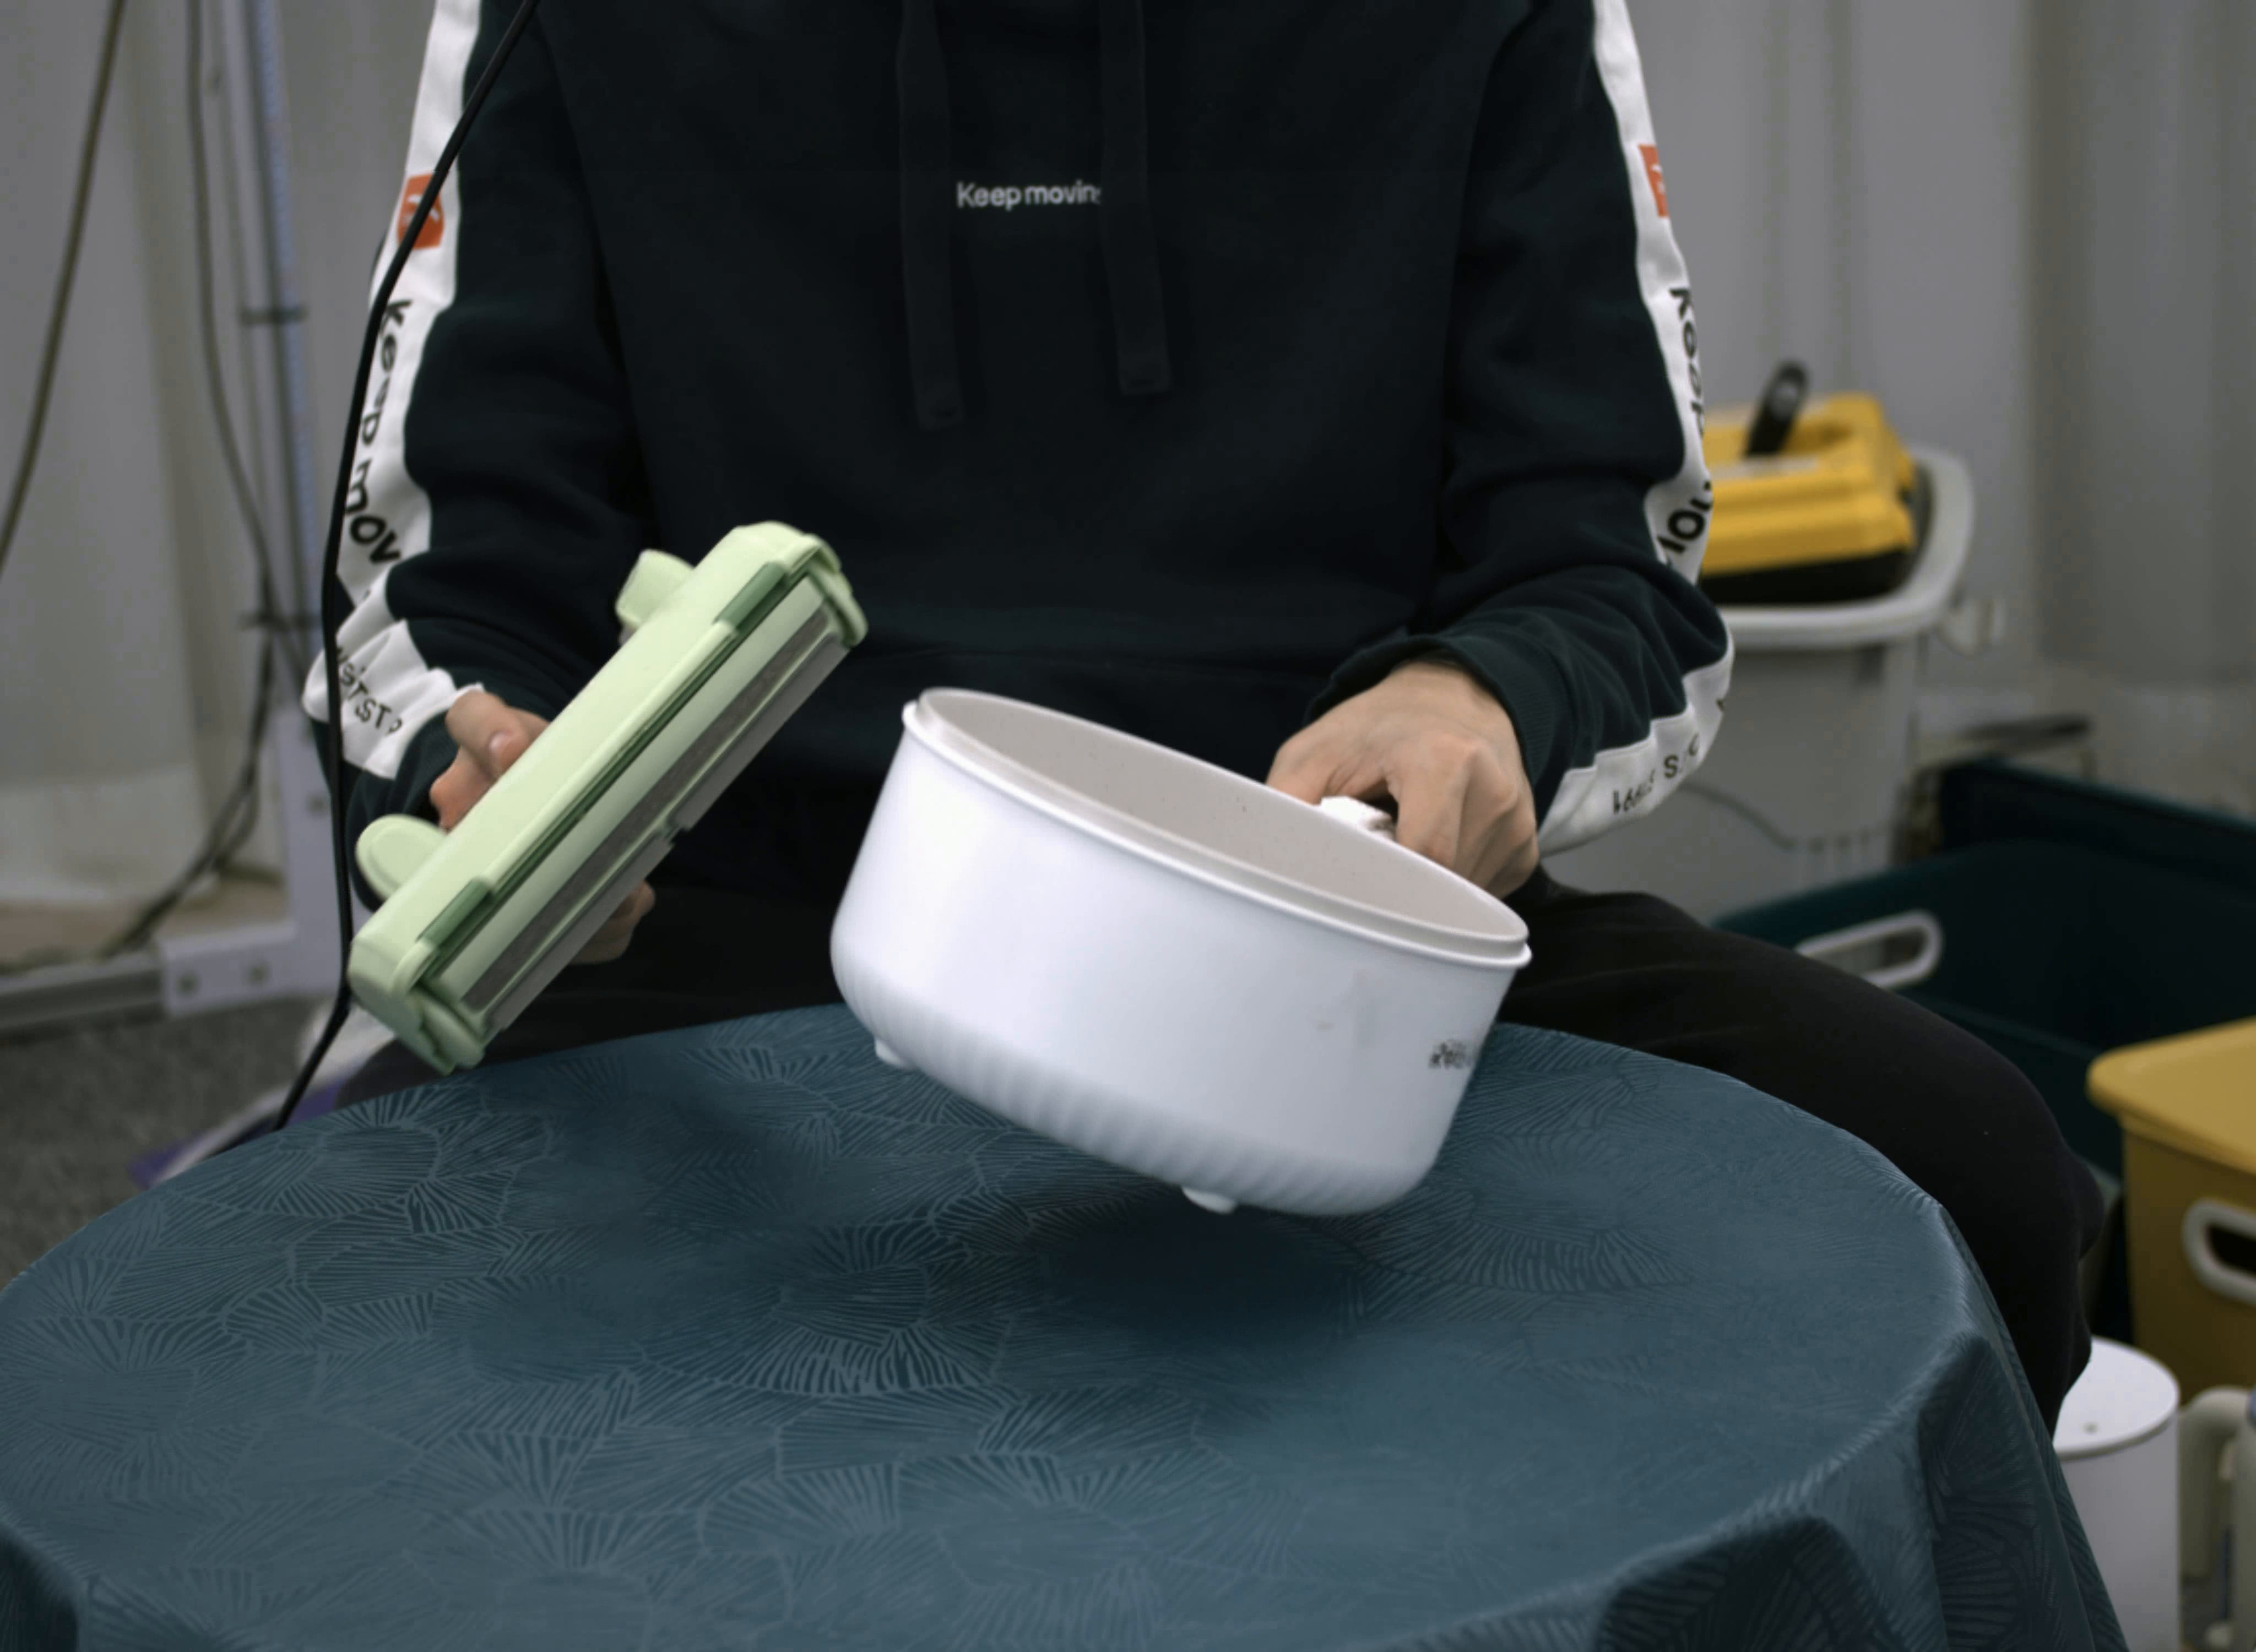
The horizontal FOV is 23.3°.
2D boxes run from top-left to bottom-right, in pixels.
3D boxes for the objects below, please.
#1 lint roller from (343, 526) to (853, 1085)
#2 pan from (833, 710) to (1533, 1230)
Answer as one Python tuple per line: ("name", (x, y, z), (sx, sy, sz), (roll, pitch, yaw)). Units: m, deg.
("lint roller", (-0.183, -0.006, 1.737), (0.199, 0.082, 0.183), (-50, 8, -17))
("pan", (0.034, 0.046, 1.706), (0.202, 0.102, 0.354), (22, 7, 16))
